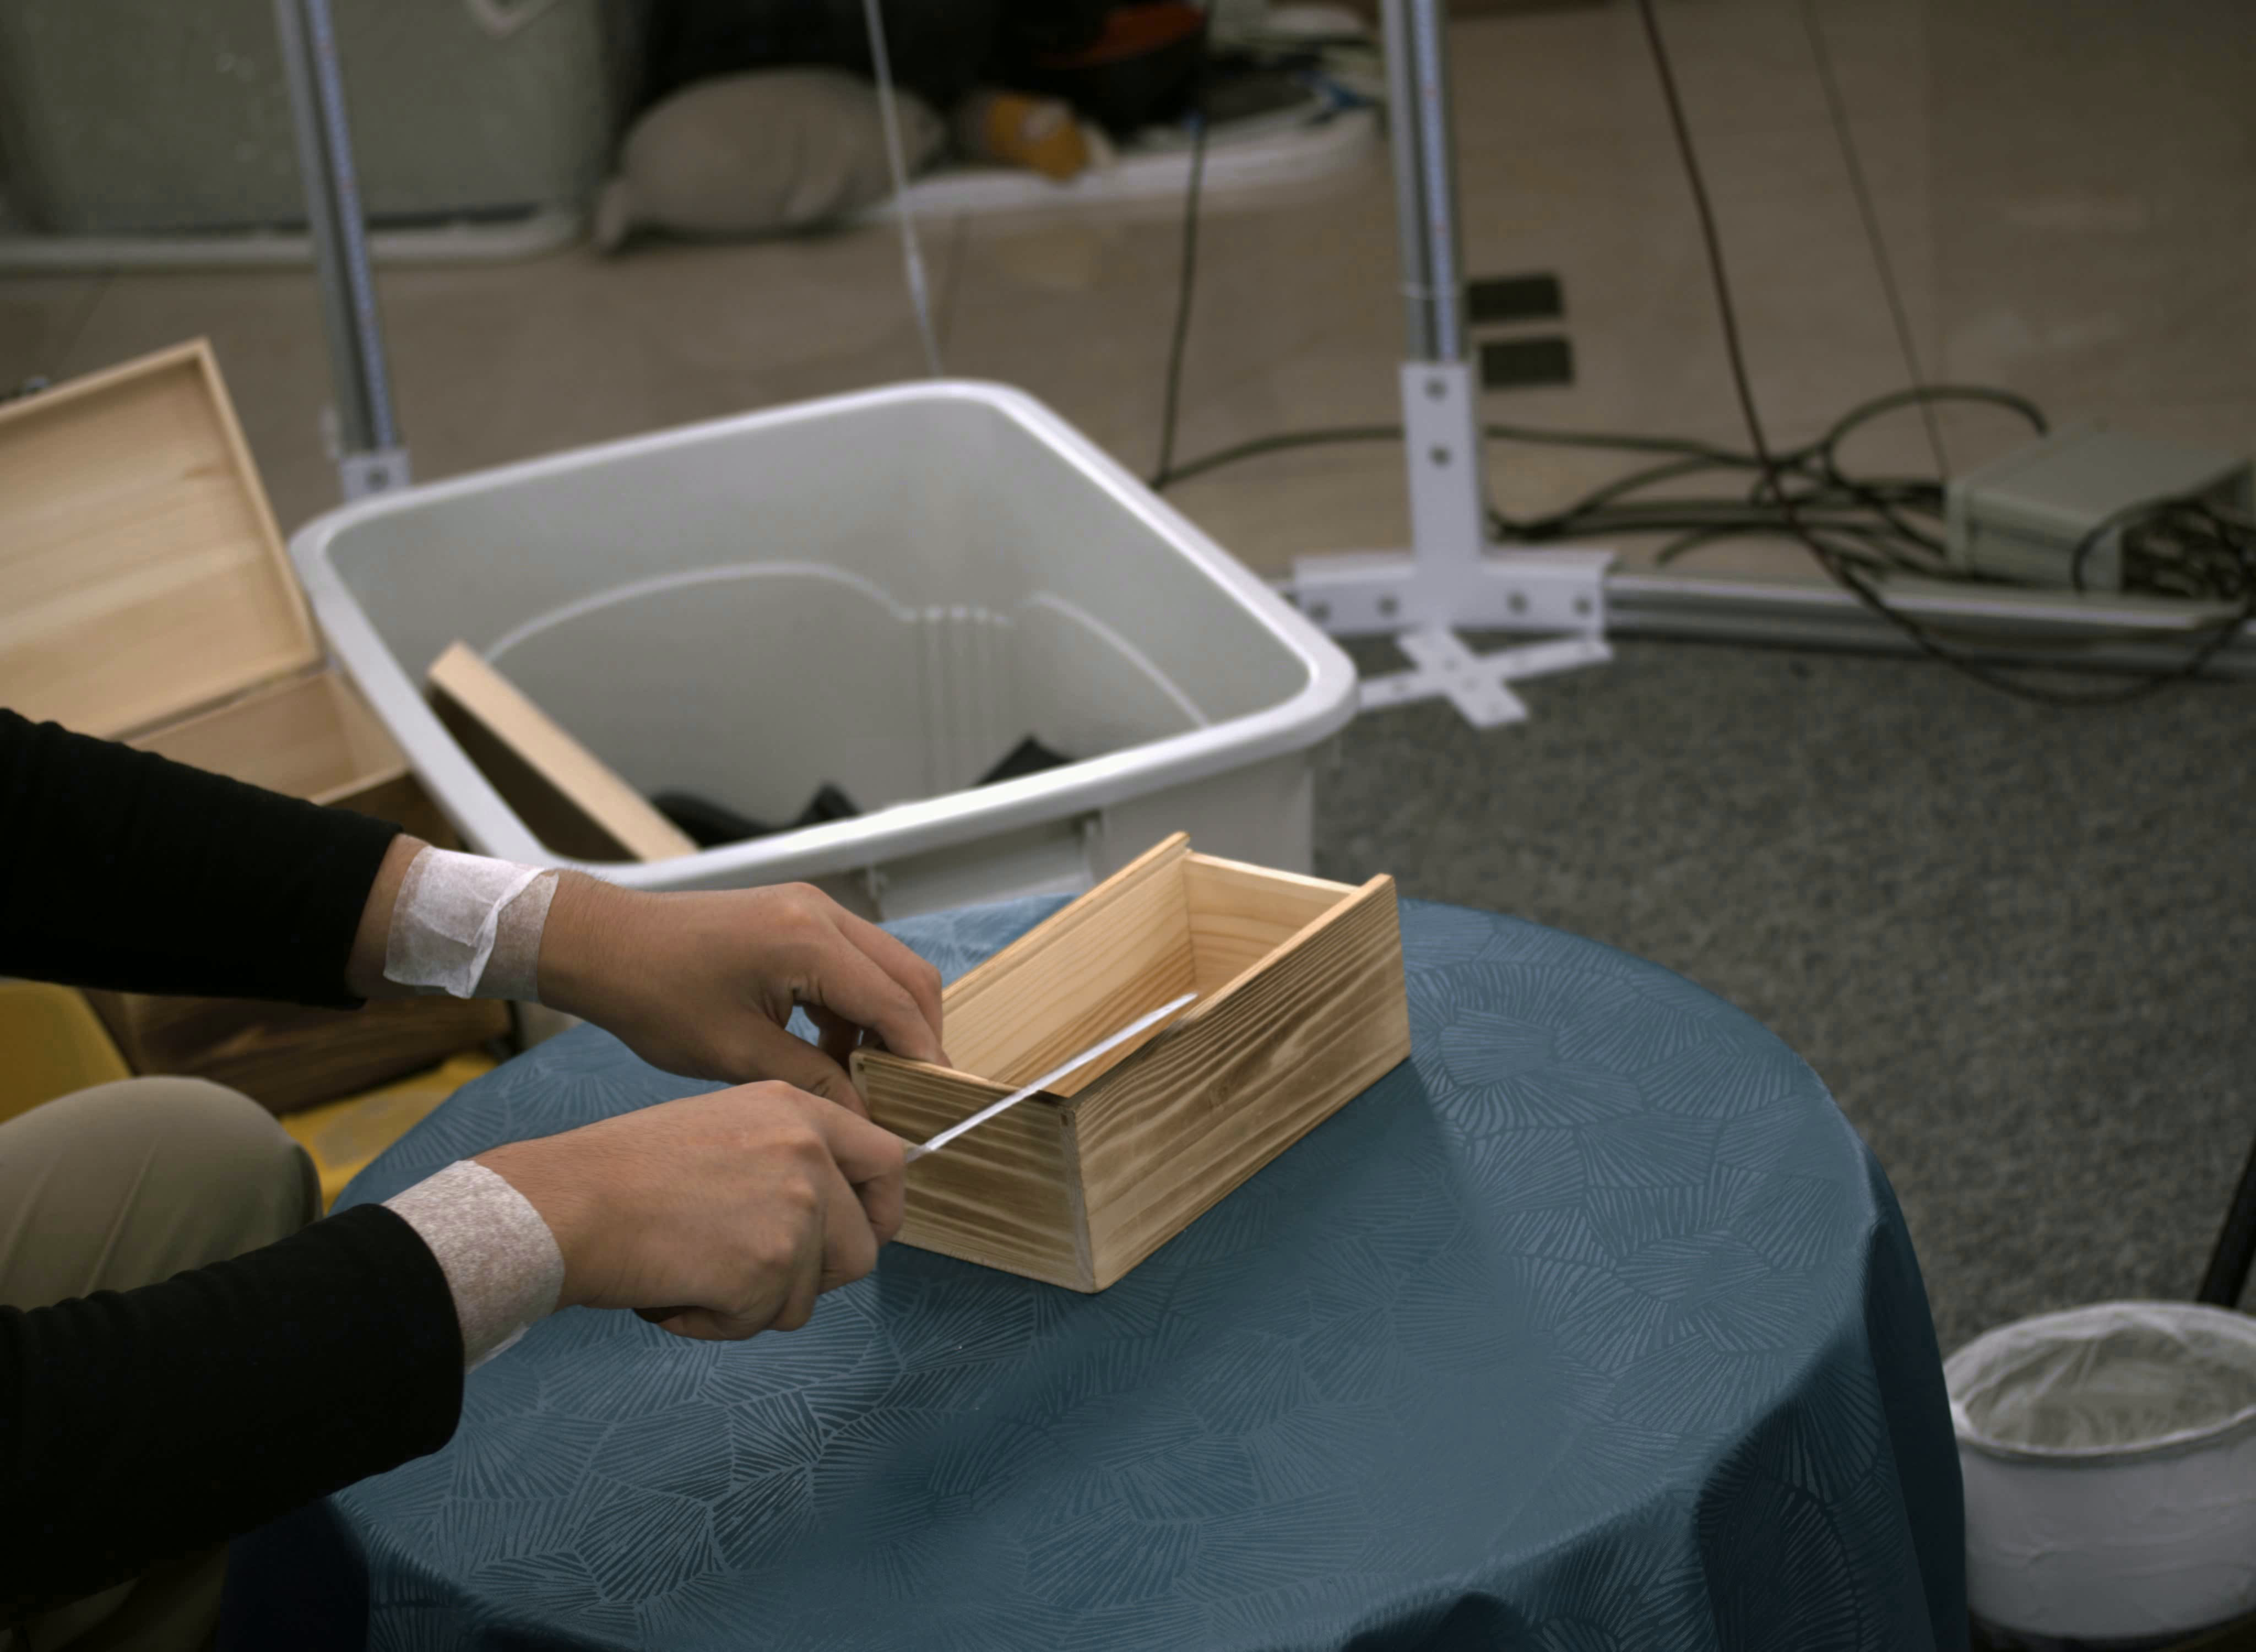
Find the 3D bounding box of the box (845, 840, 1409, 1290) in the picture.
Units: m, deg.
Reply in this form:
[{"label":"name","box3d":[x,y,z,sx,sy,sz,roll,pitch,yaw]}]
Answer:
[{"label":"box","box3d":[0.003,0.088,2.162,0.107,0.081,0.209,12,30,35]}]

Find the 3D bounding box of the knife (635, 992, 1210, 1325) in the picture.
[{"label":"knife","box3d":[-0.066,0.111,2.002,0.286,0.020,0.050,-28,4,-42]}]
